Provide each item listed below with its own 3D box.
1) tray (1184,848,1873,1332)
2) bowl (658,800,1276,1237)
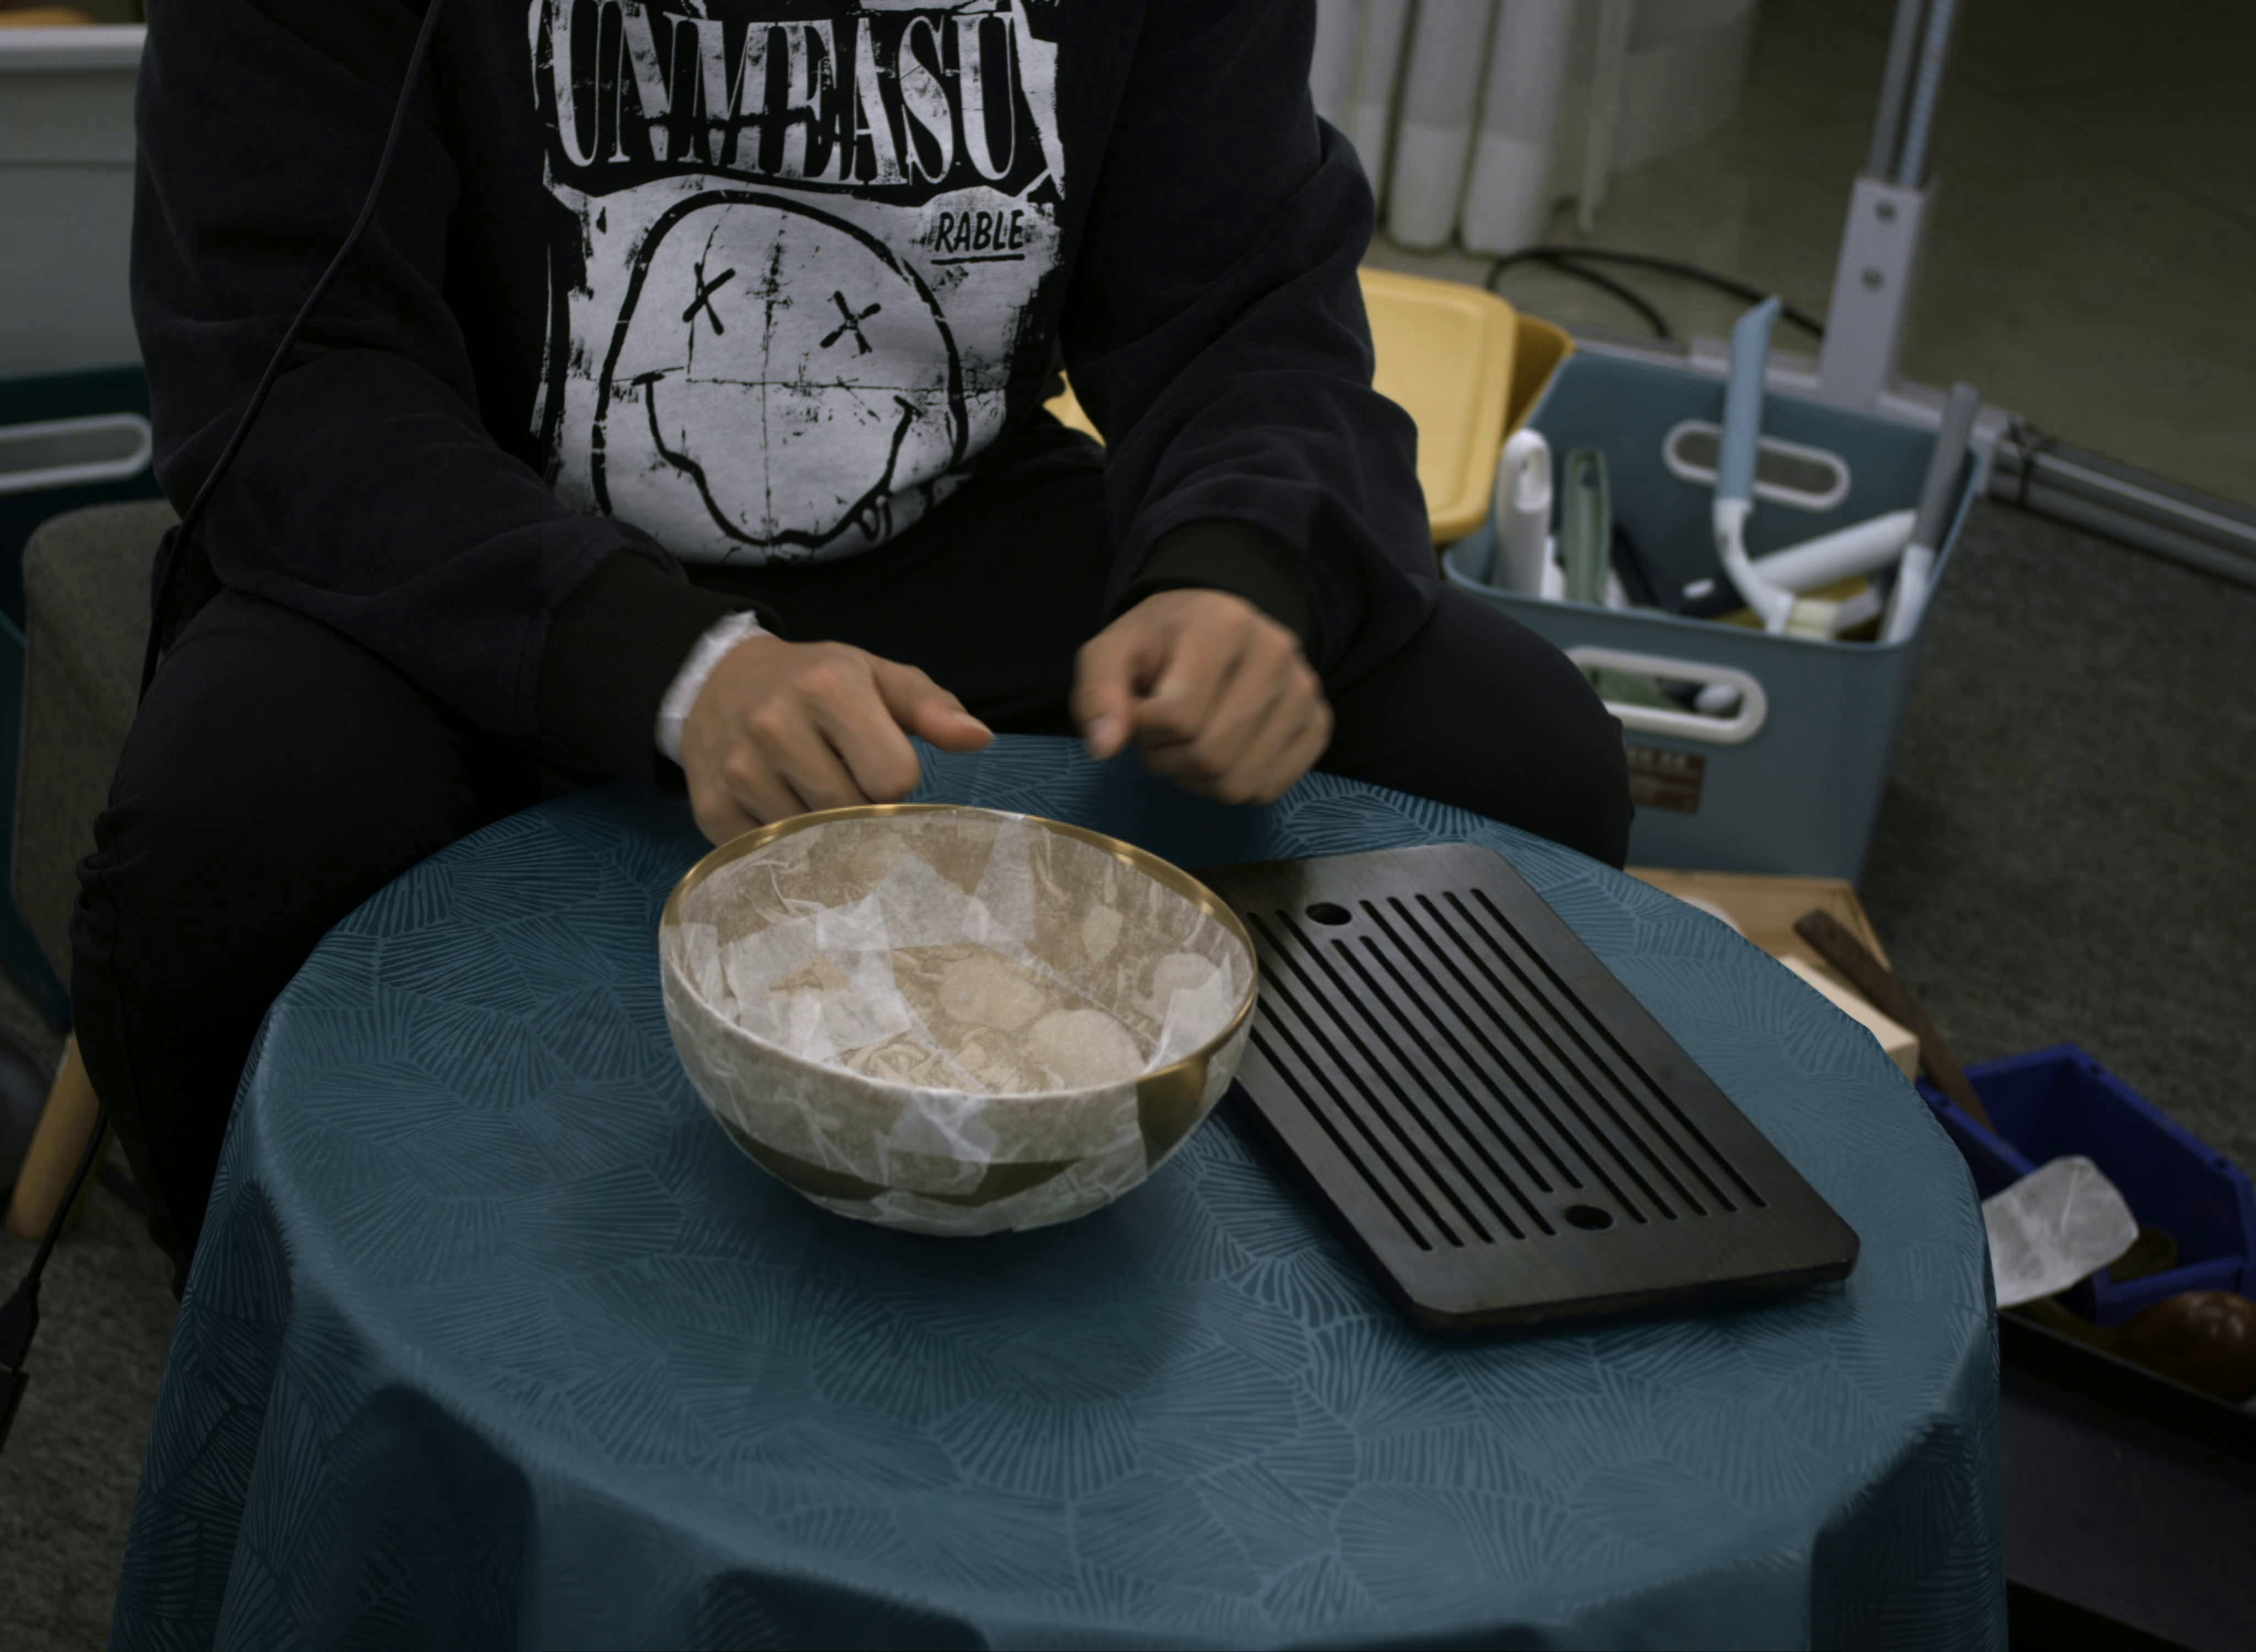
[{"bbox_3d":[0.119,0.090,1.875,0.169,0.018,0.309,-5,29,-22],"label":"tray"},{"bbox_3d":[-0.056,0.075,1.779,0.214,0.094,0.216,4,27,-2],"label":"bowl"}]
